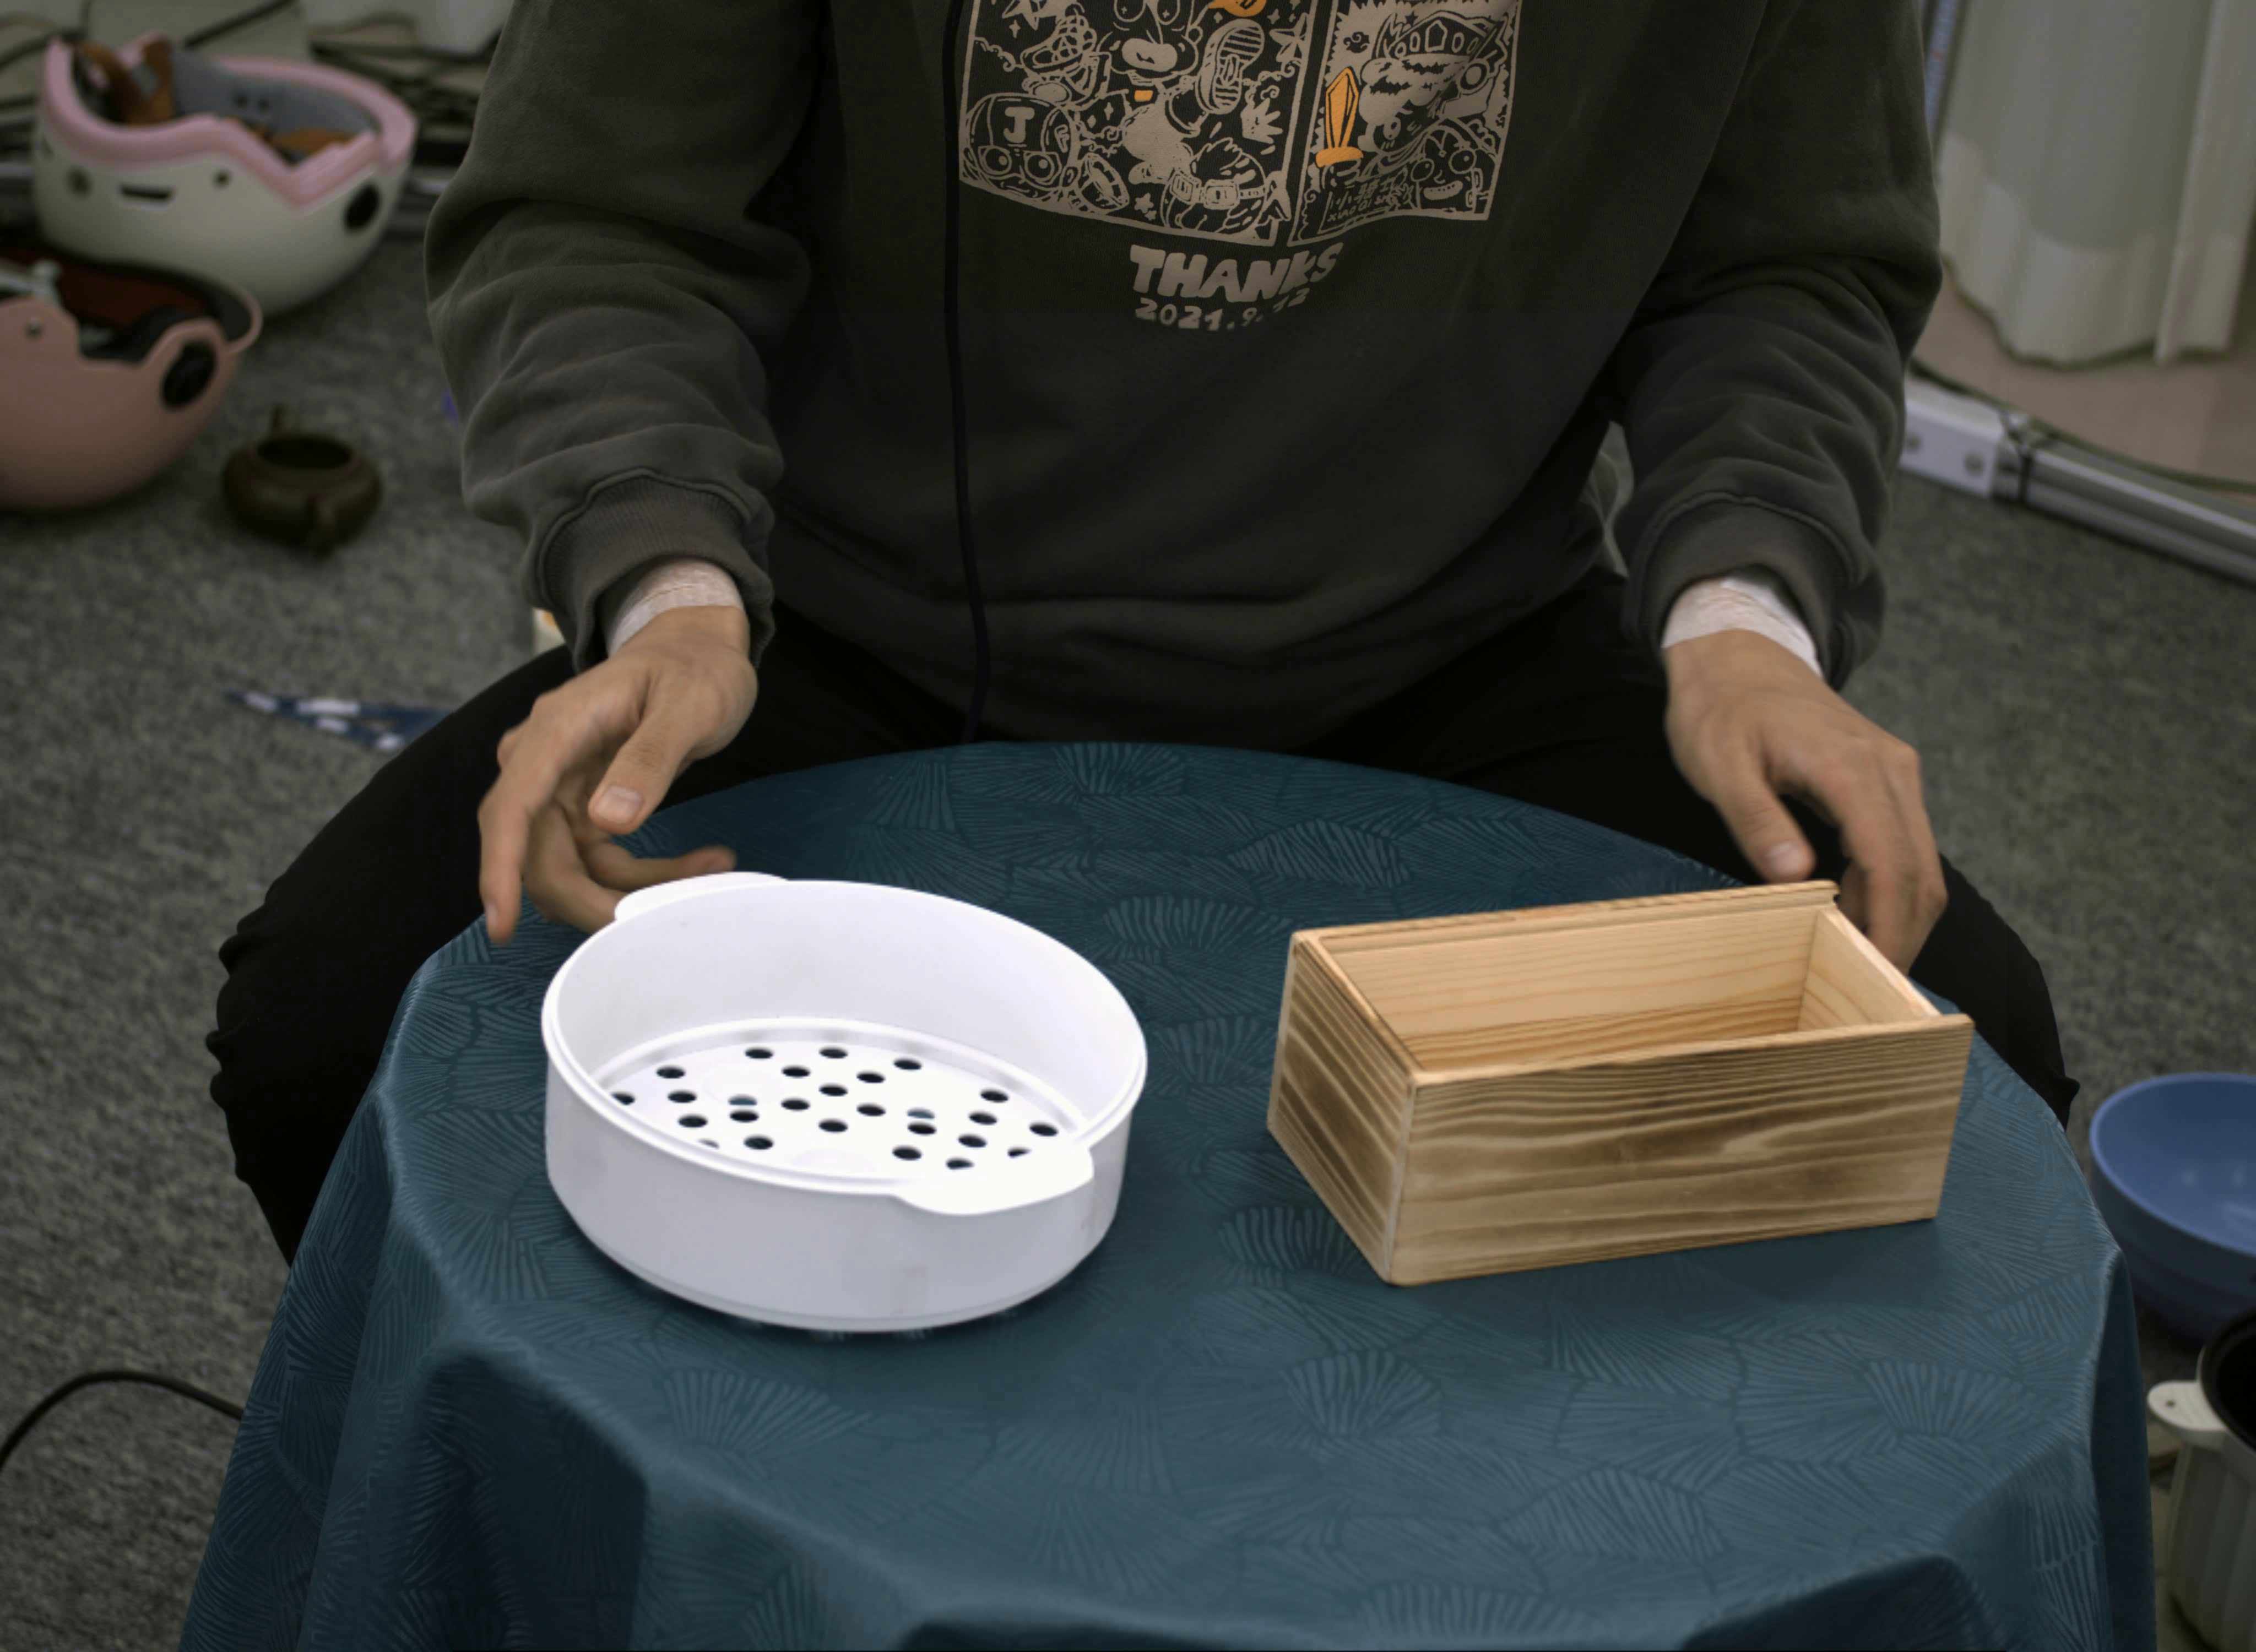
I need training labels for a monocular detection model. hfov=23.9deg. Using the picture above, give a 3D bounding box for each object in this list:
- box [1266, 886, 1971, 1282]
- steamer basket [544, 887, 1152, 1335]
[{"bbox_3d":[0.167,0.087,1.826,0.210,0.080,0.108,-5,28,-22],"label":"box"},{"bbox_3d":[-0.095,0.095,1.764,0.200,0.069,0.232,-10,30,-31],"label":"steamer basket"}]
